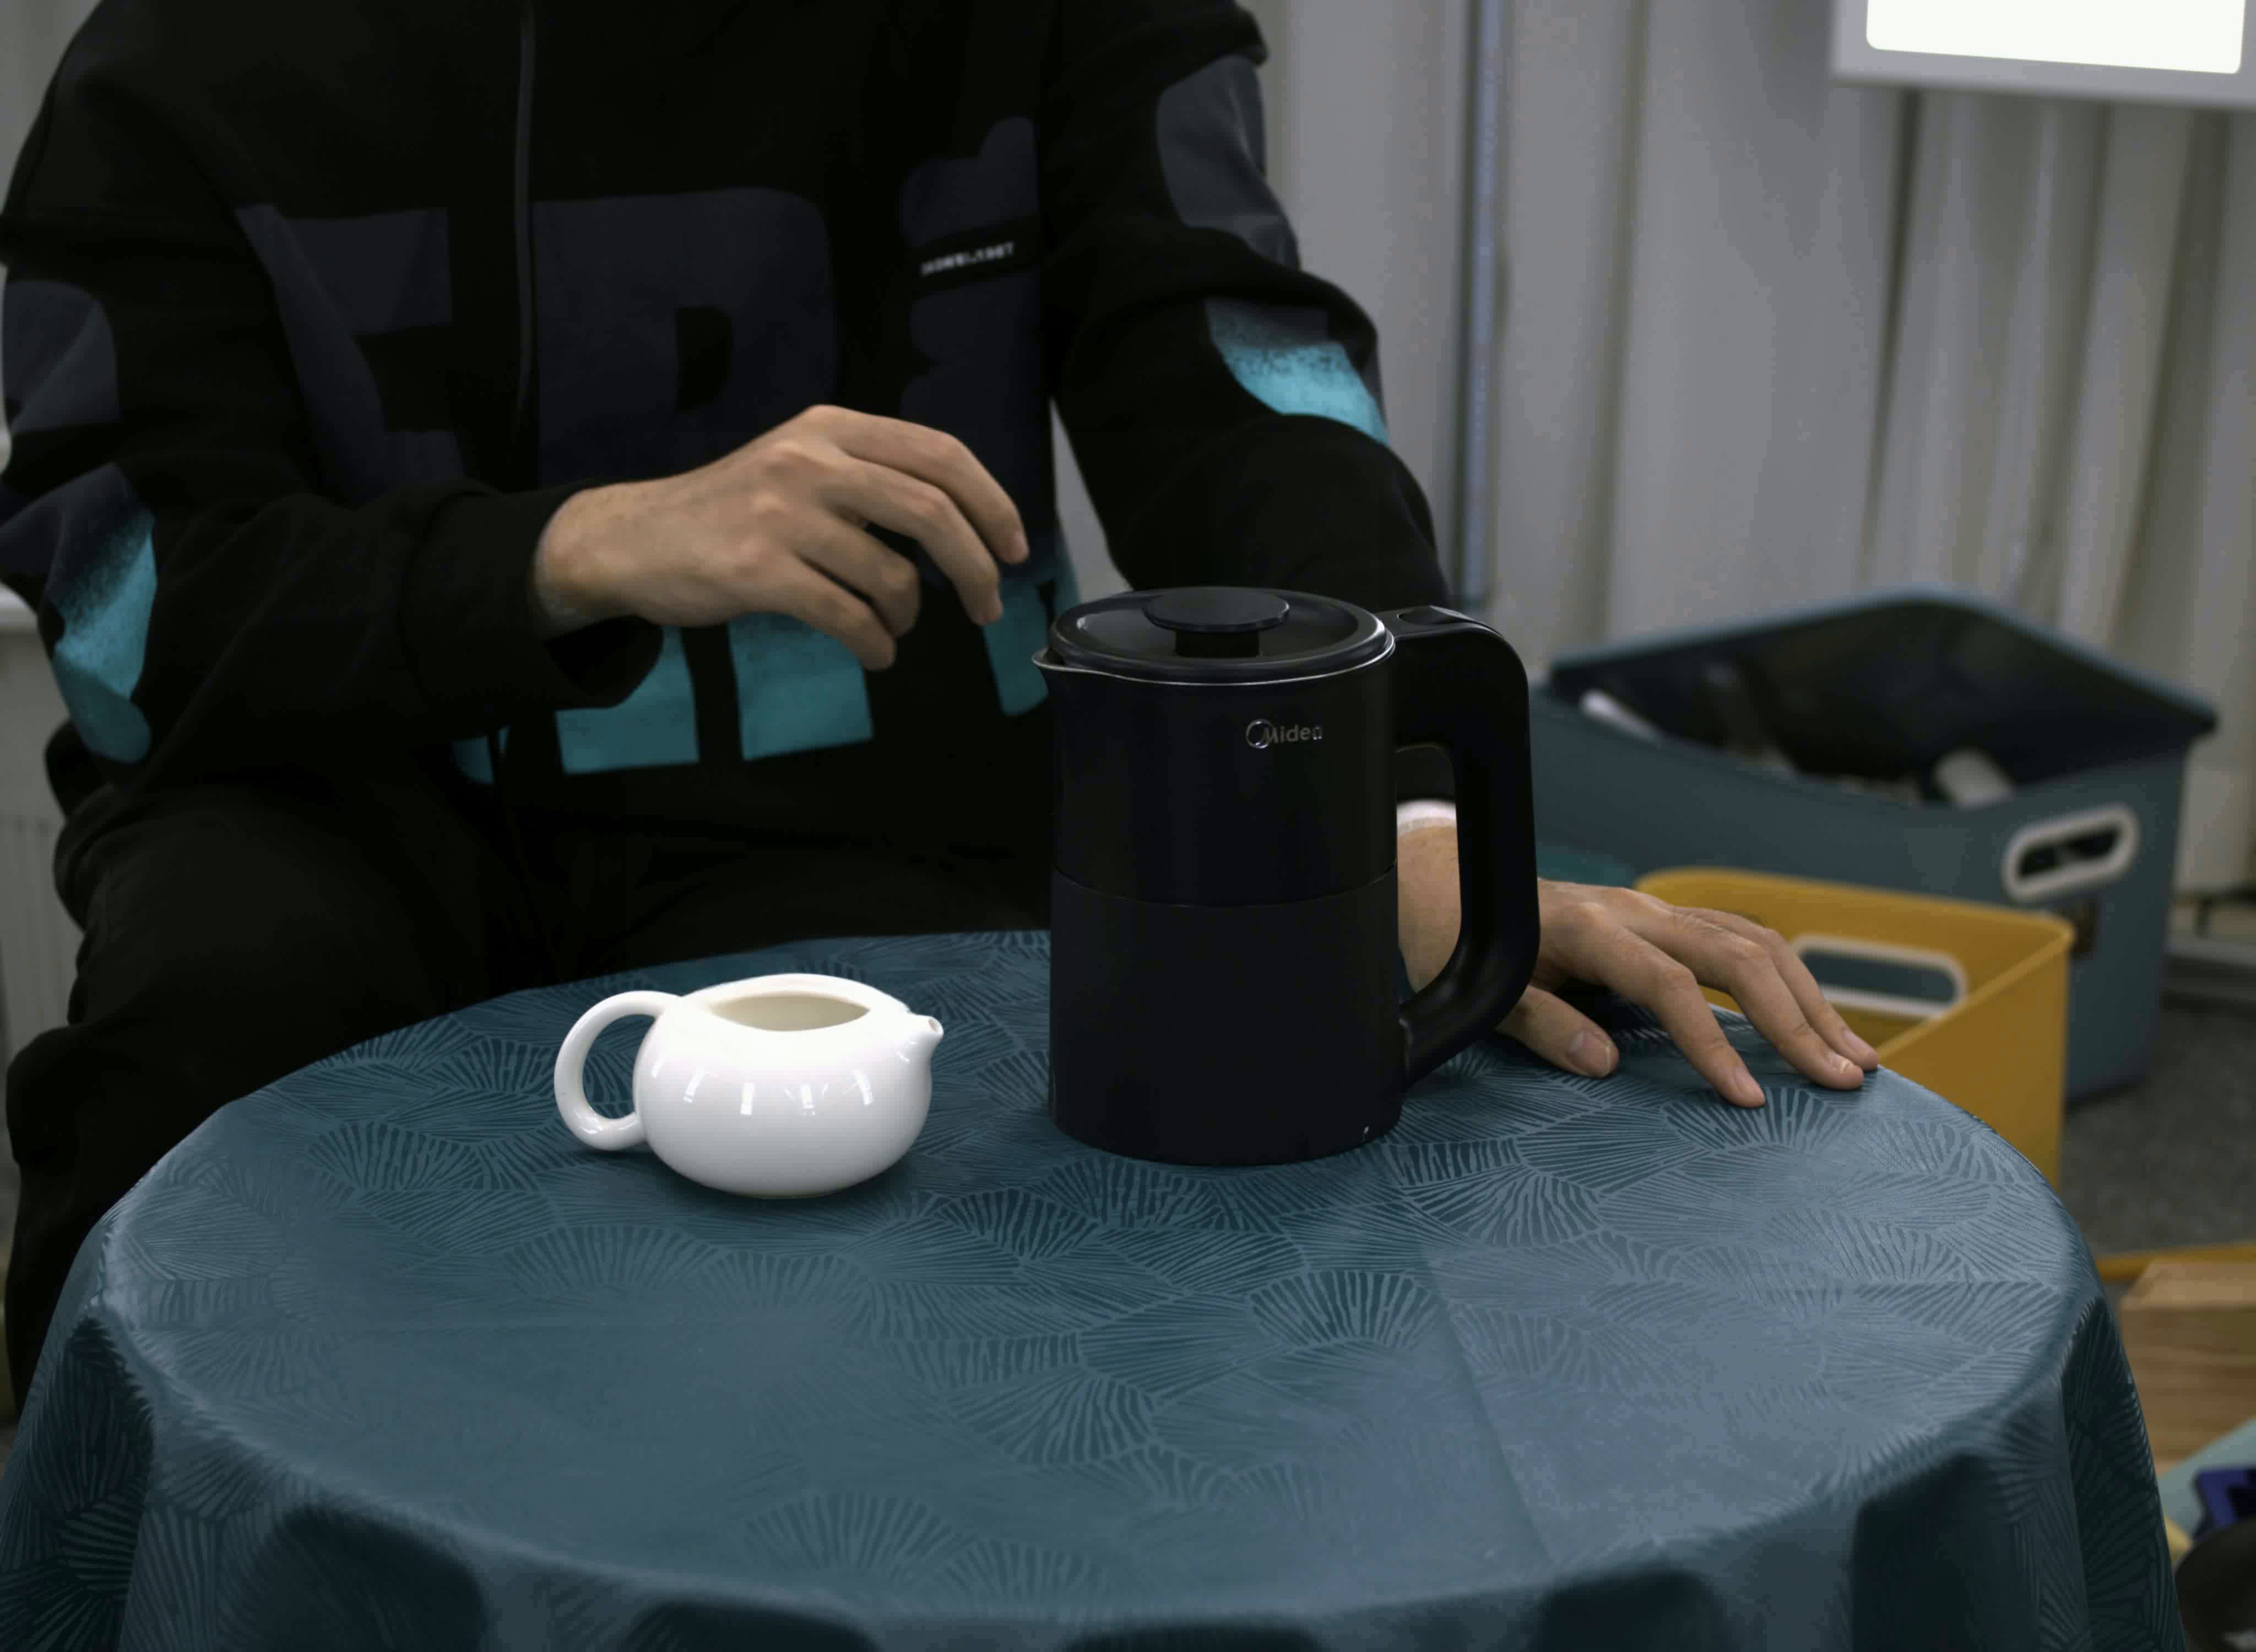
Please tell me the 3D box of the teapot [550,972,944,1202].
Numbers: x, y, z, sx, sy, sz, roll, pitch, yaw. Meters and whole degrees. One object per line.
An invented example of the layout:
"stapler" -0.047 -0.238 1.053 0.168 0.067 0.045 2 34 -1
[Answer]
"teapot" -0.118 0.081 1.630 0.126 0.057 0.093 2 19 7

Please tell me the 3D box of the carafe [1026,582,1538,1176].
"carafe" 0.050 0.007 1.679 0.172 0.175 0.113 -10 17 -25
